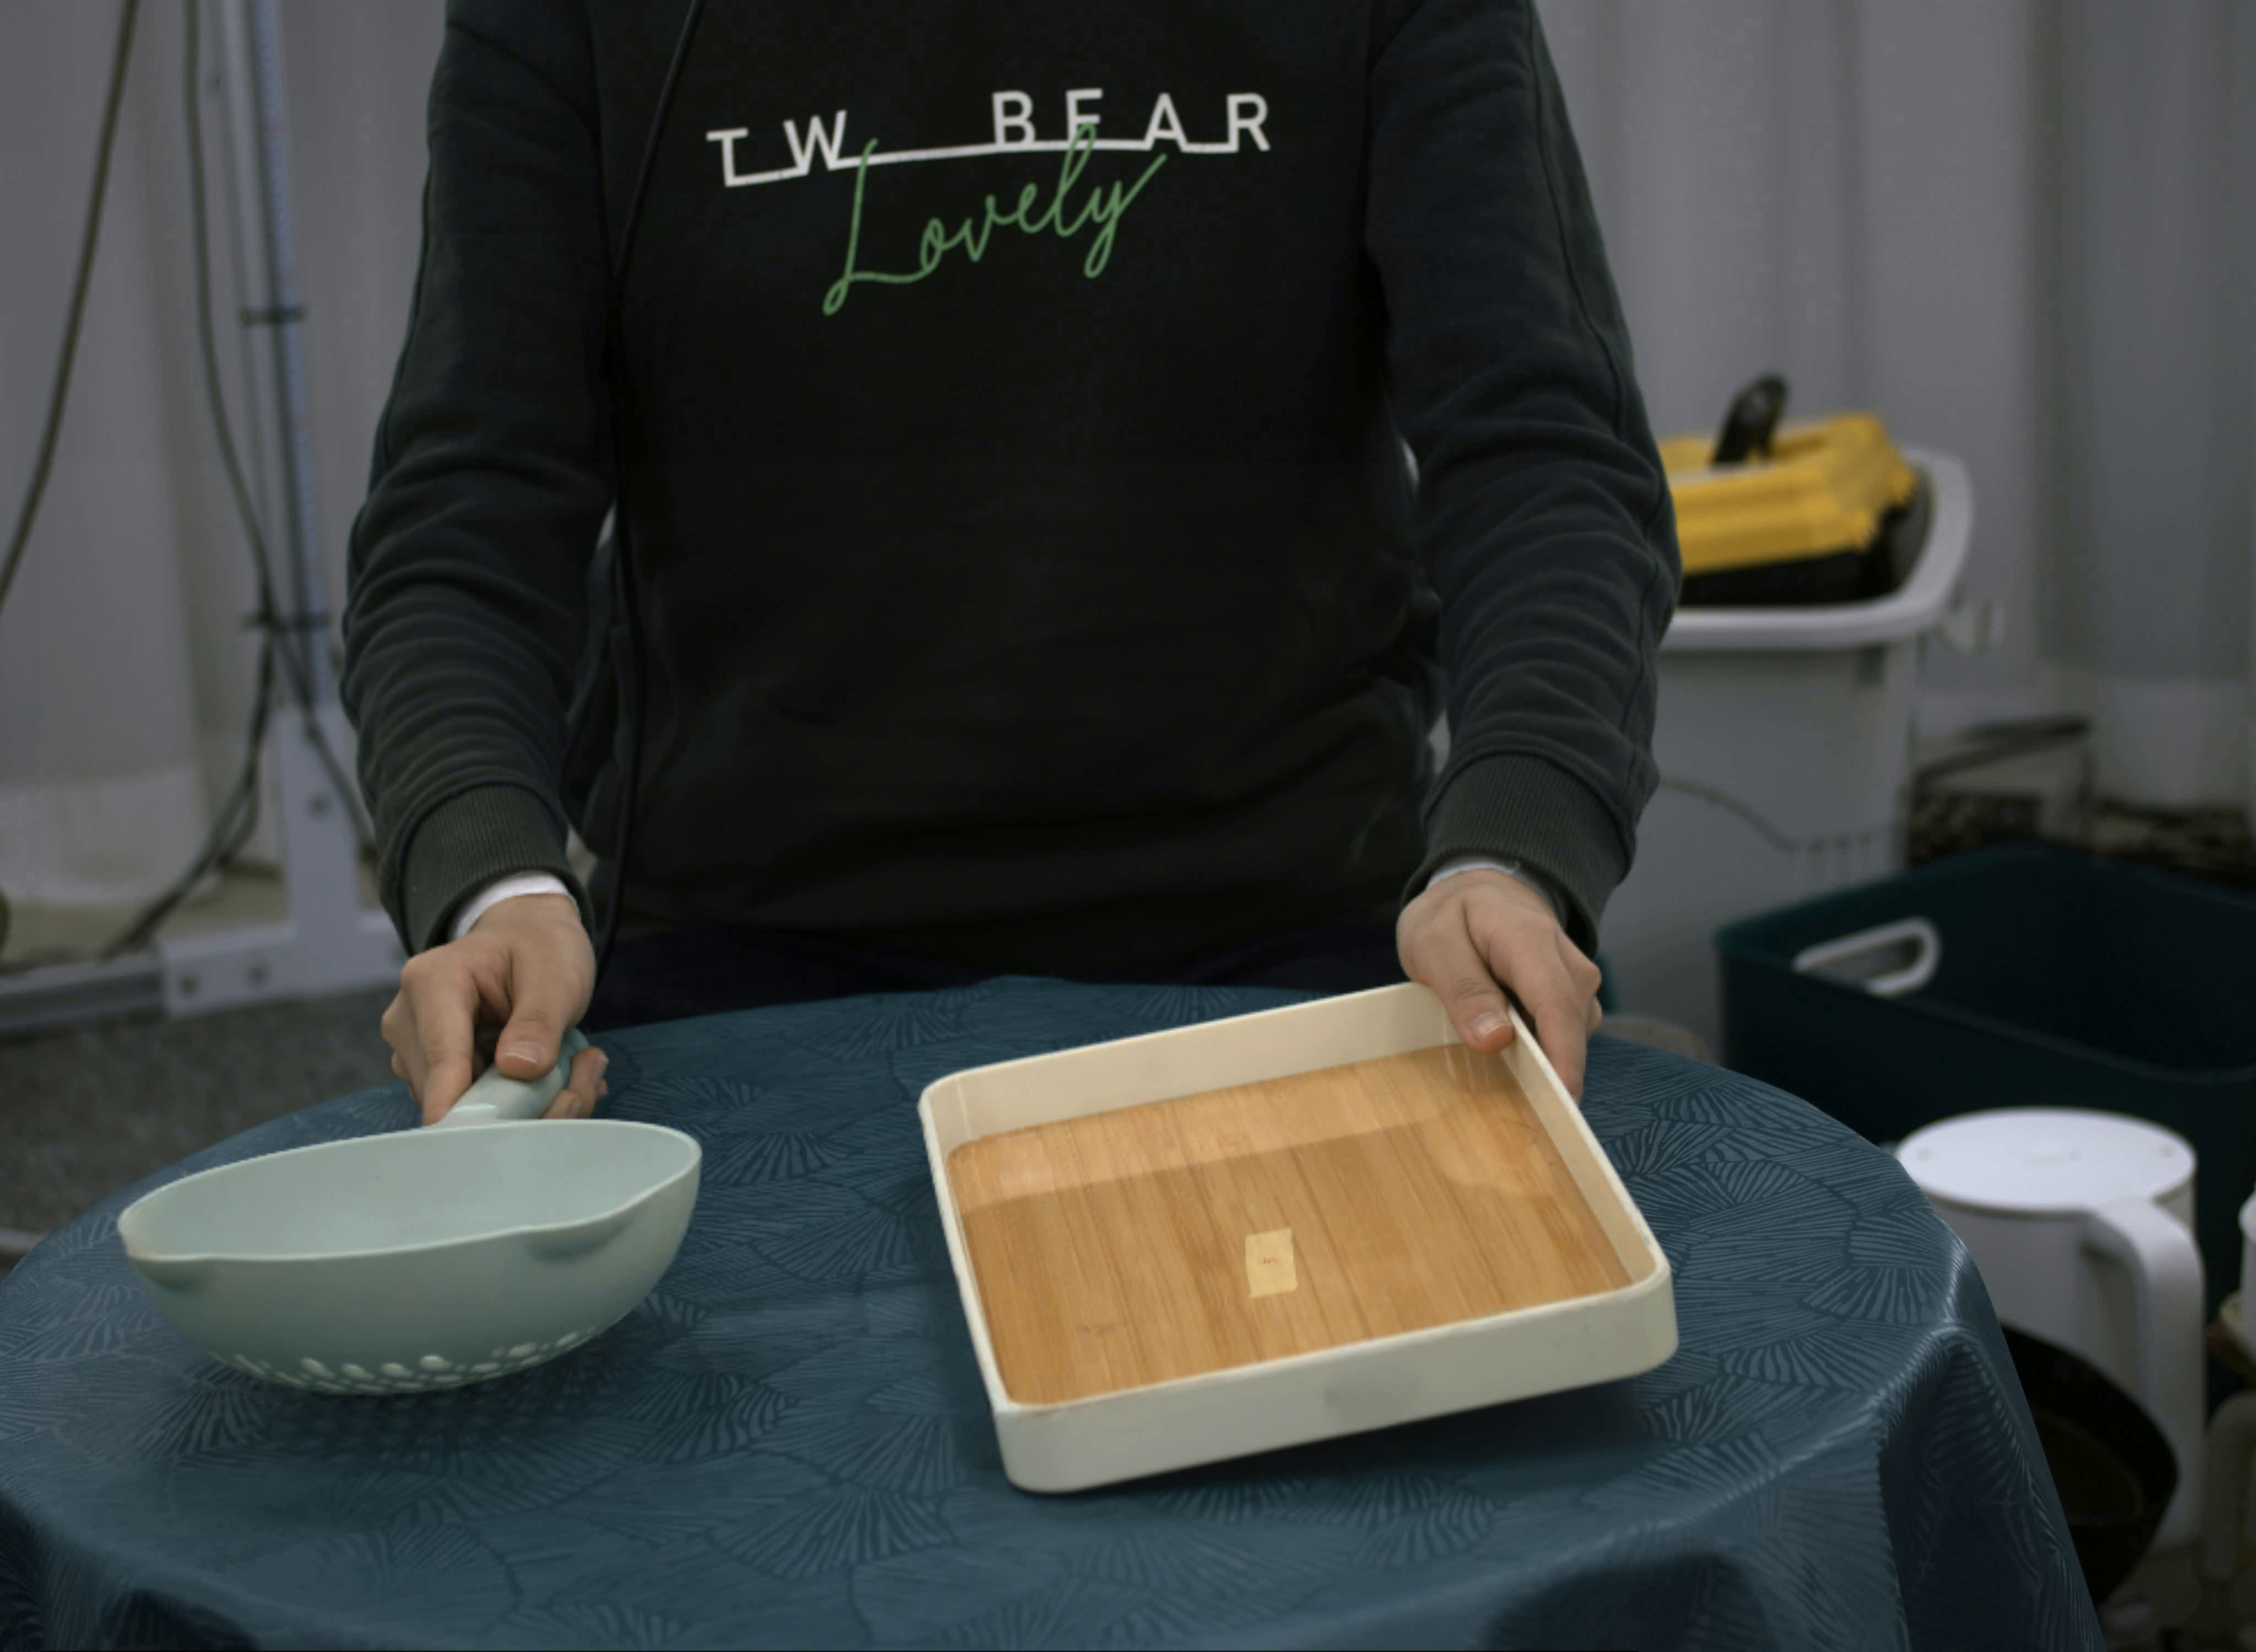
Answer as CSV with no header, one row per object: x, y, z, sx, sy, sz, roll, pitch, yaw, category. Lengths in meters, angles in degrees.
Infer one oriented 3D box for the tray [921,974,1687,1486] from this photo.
0.044,0.113,1.609,0.191,0.027,0.302,-10,16,-4,tray

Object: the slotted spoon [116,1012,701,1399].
-0.200,0.099,1.671,0.169,0.075,0.361,-5,17,4,slotted spoon
